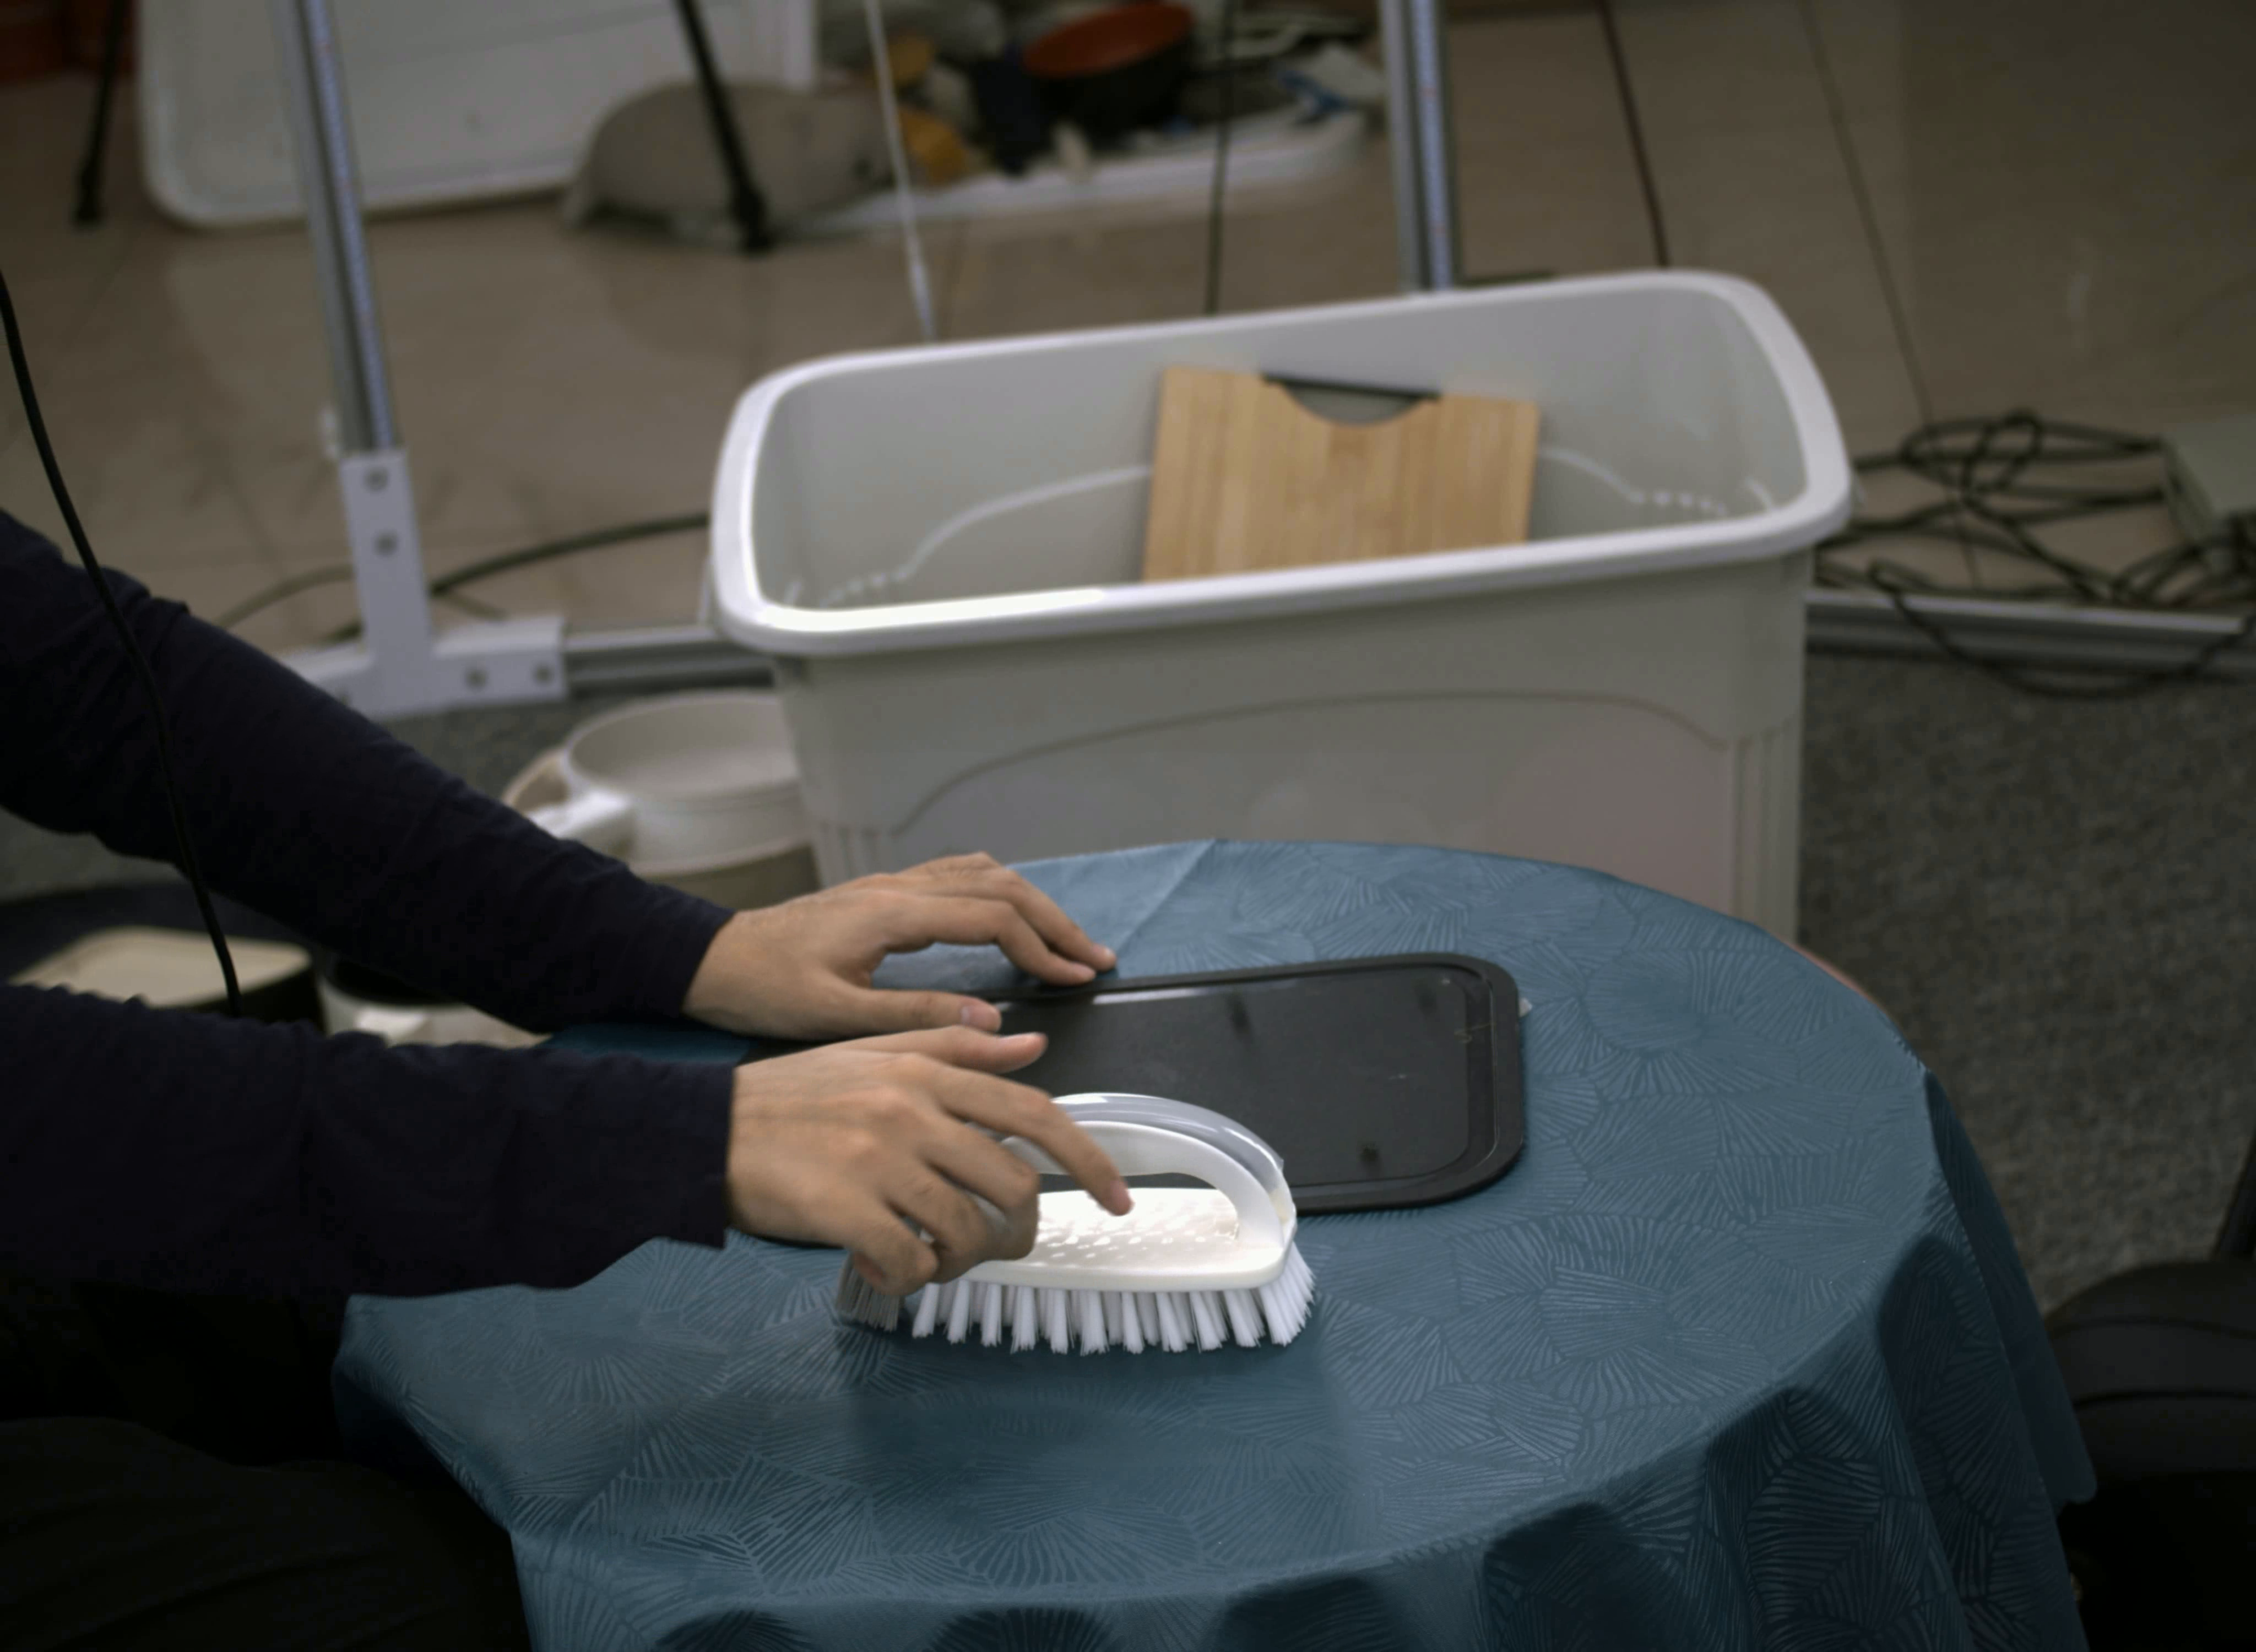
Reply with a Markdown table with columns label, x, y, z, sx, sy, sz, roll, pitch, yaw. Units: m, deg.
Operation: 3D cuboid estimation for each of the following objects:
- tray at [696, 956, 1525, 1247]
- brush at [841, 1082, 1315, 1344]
| label | x | y | z | sx | sy | sz | roll | pitch | yaw |
| --- | --- | --- | --- | --- | --- | --- | --- | --- | --- |
| tray | -0.008 | 0.105 | 2.213 | 0.325 | 0.010 | 0.208 | -4 | 25 | 6 |
| brush | -0.024 | 0.139 | 2.043 | 0.175 | 0.095 | 0.060 | -3 | 23 | 13 |
